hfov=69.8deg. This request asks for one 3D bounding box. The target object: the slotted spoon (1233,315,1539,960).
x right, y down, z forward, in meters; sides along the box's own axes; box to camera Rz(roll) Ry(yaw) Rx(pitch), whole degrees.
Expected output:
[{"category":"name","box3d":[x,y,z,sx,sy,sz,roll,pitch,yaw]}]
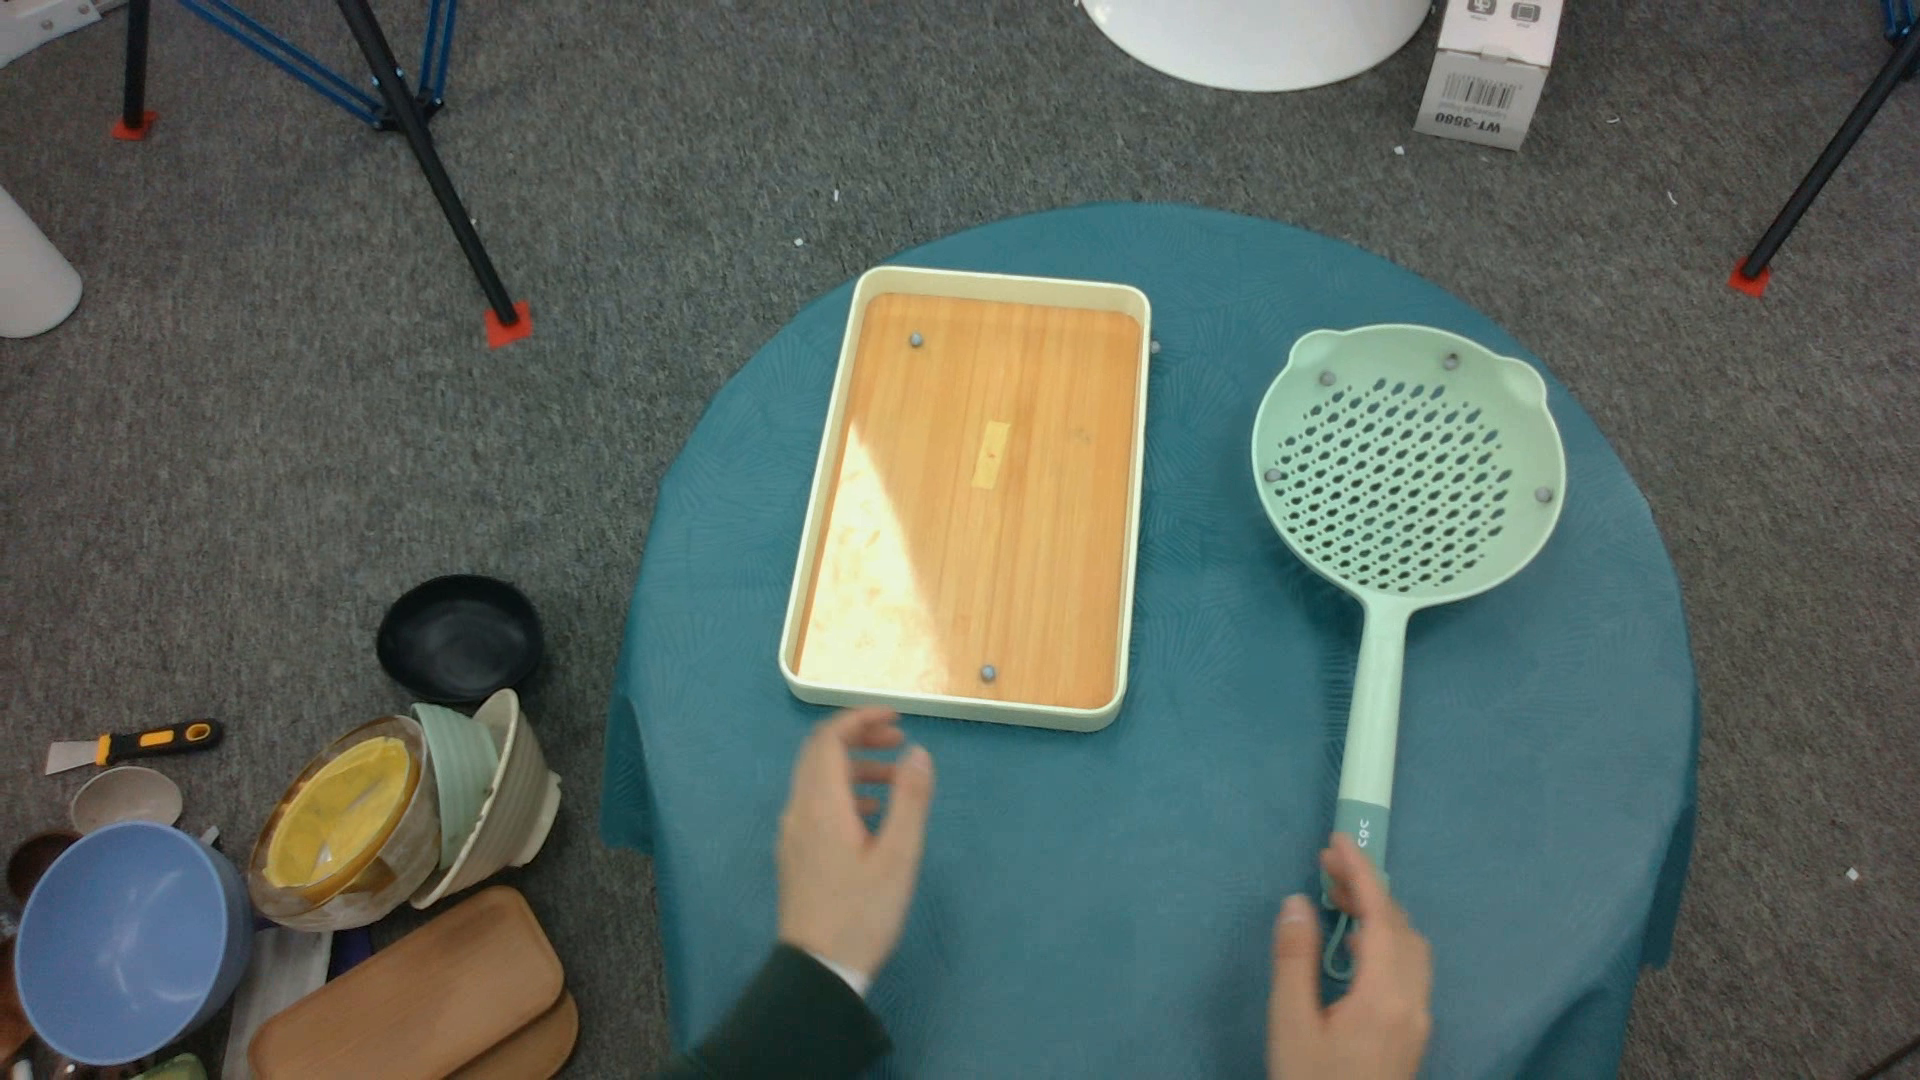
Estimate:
[{"category":"slotted spoon","box3d":[0.217,0.040,0.744,0.169,0.075,0.360,11,60,7]}]

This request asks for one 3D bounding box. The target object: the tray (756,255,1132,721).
[{"category":"tray","box3d":[-0.001,-0.042,0.817,0.191,0.027,0.301,6,60,4]}]
